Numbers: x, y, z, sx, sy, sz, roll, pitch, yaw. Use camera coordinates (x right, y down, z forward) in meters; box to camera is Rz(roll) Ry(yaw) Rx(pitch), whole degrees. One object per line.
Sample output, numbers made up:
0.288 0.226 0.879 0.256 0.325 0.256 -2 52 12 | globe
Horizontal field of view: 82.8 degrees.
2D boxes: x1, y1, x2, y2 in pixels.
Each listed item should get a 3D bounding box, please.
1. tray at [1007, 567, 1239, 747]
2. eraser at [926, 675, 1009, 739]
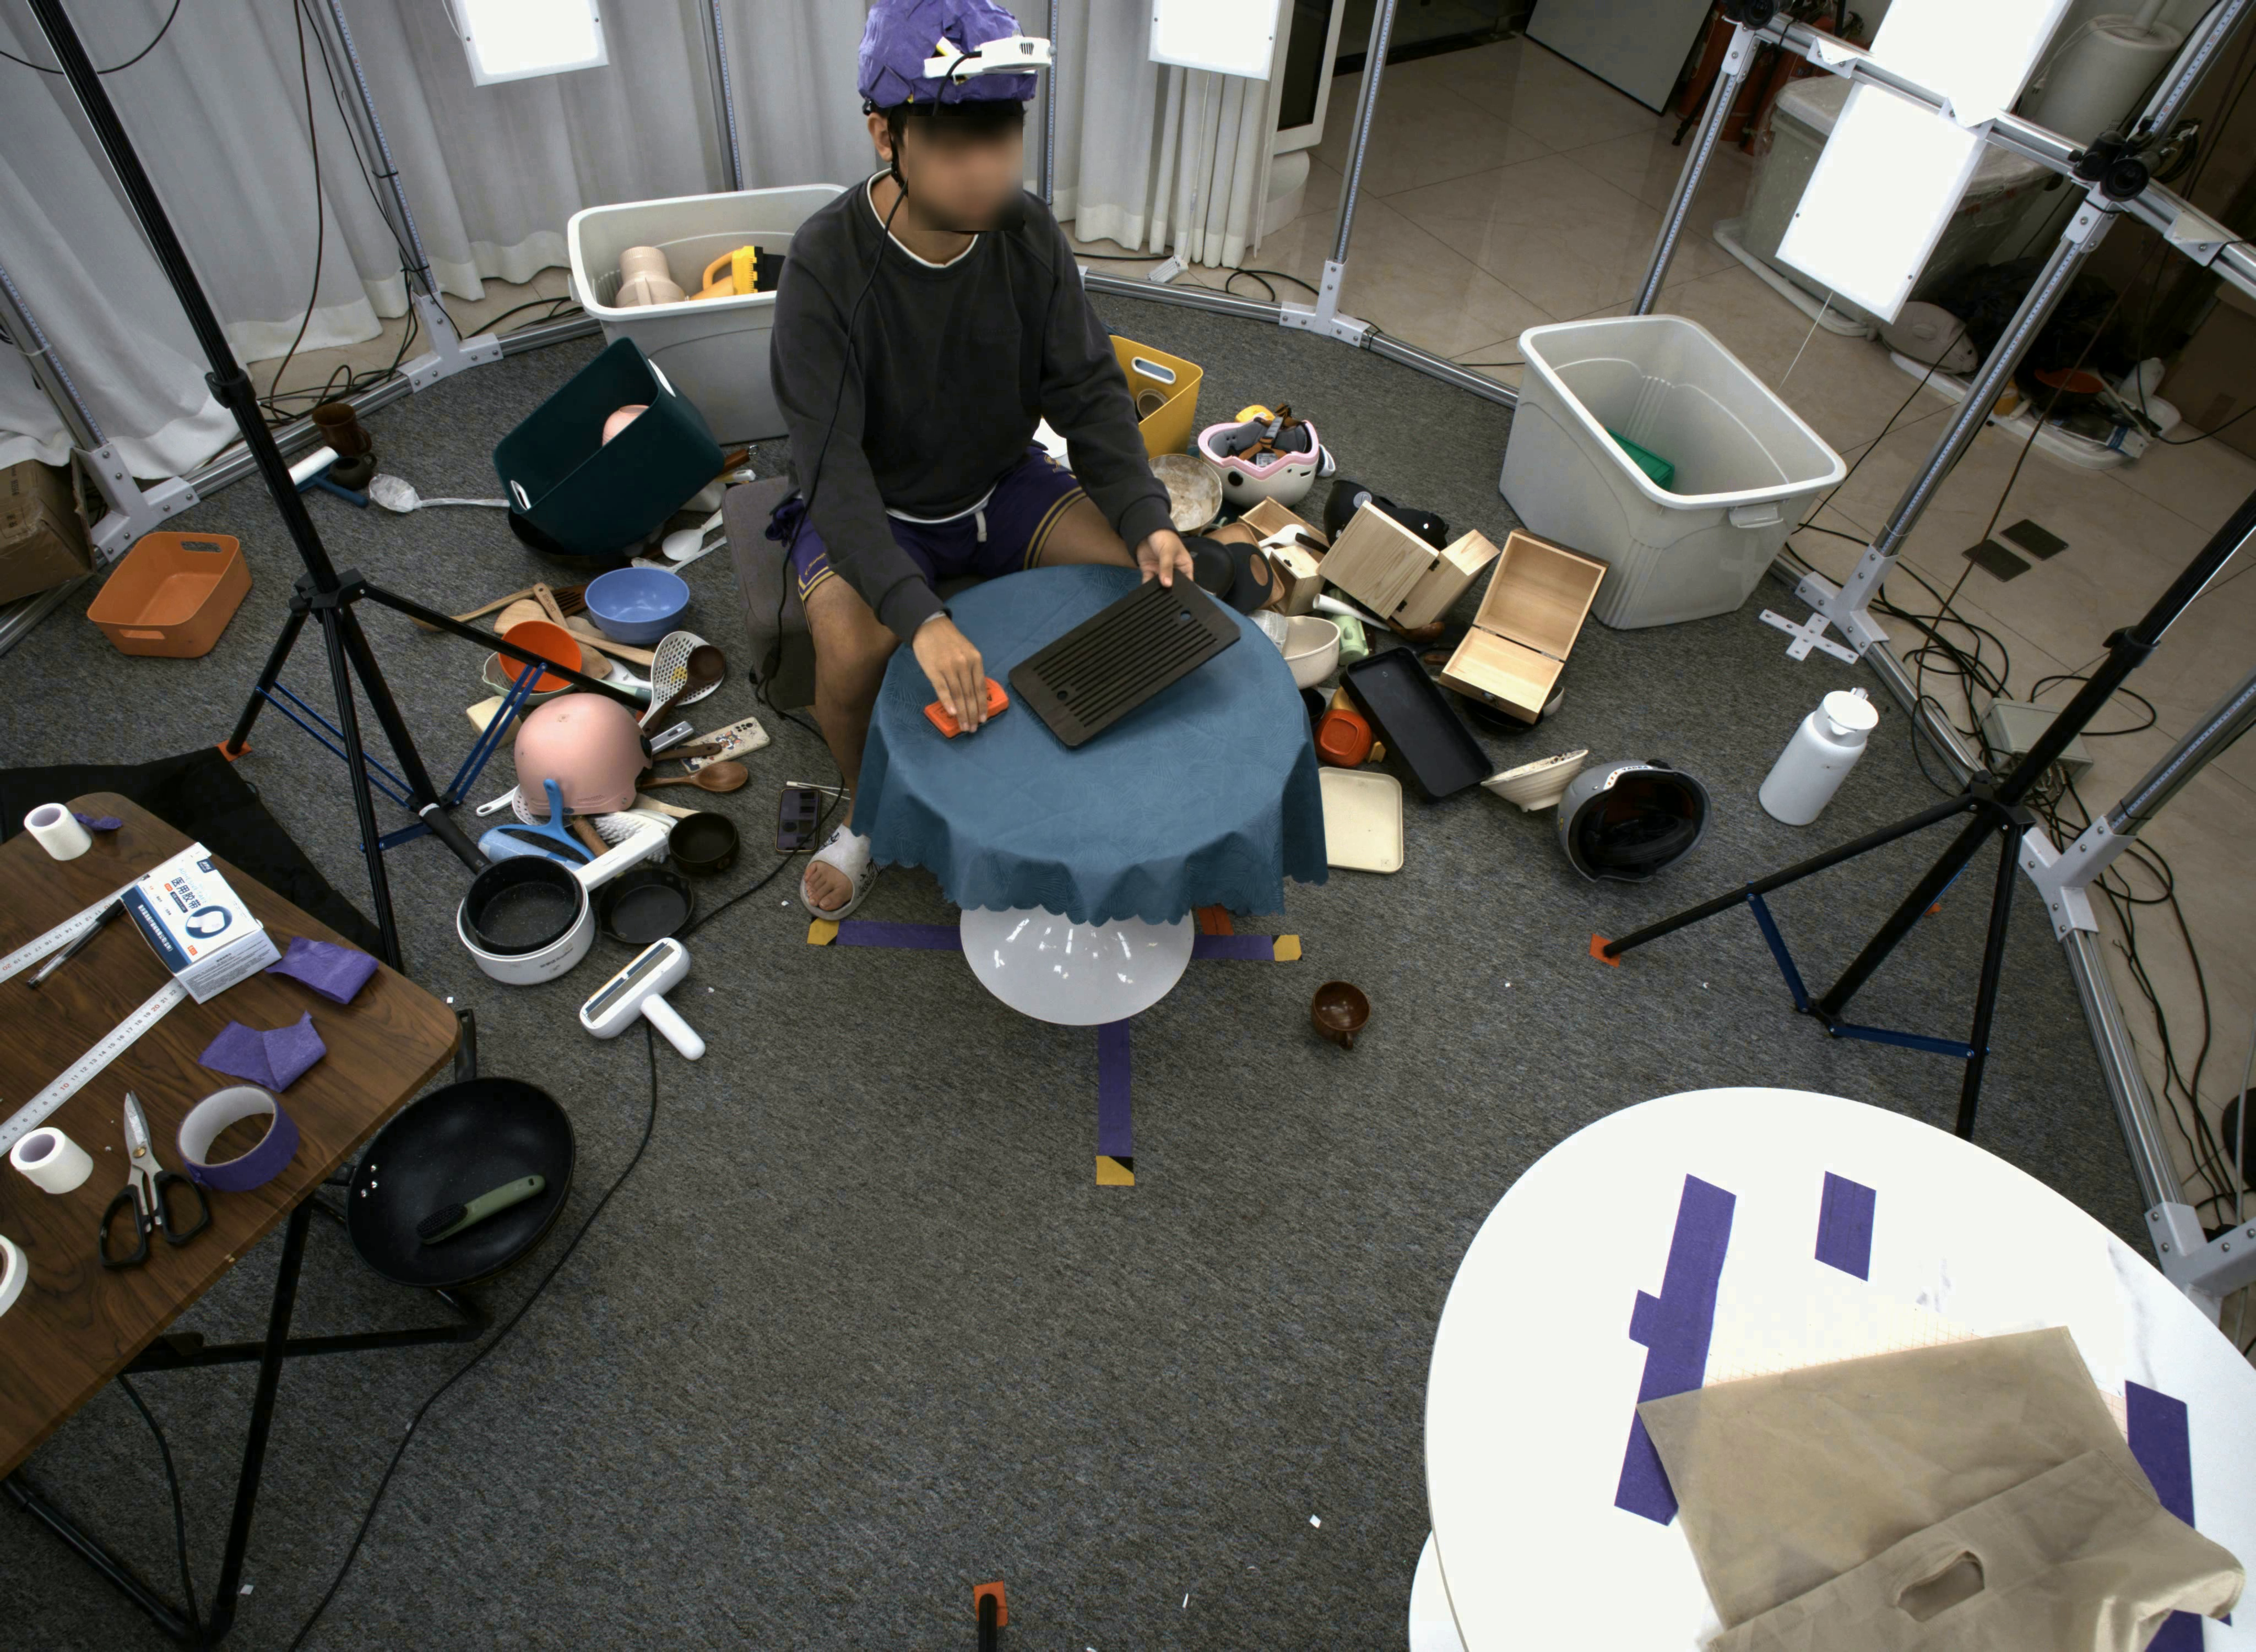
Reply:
-0.006 -0.242 1.822 0.307 0.018 0.173 -34 59 -13 | tray
-0.221 -0.165 1.775 0.109 0.022 0.060 -32 58 -26 | eraser
